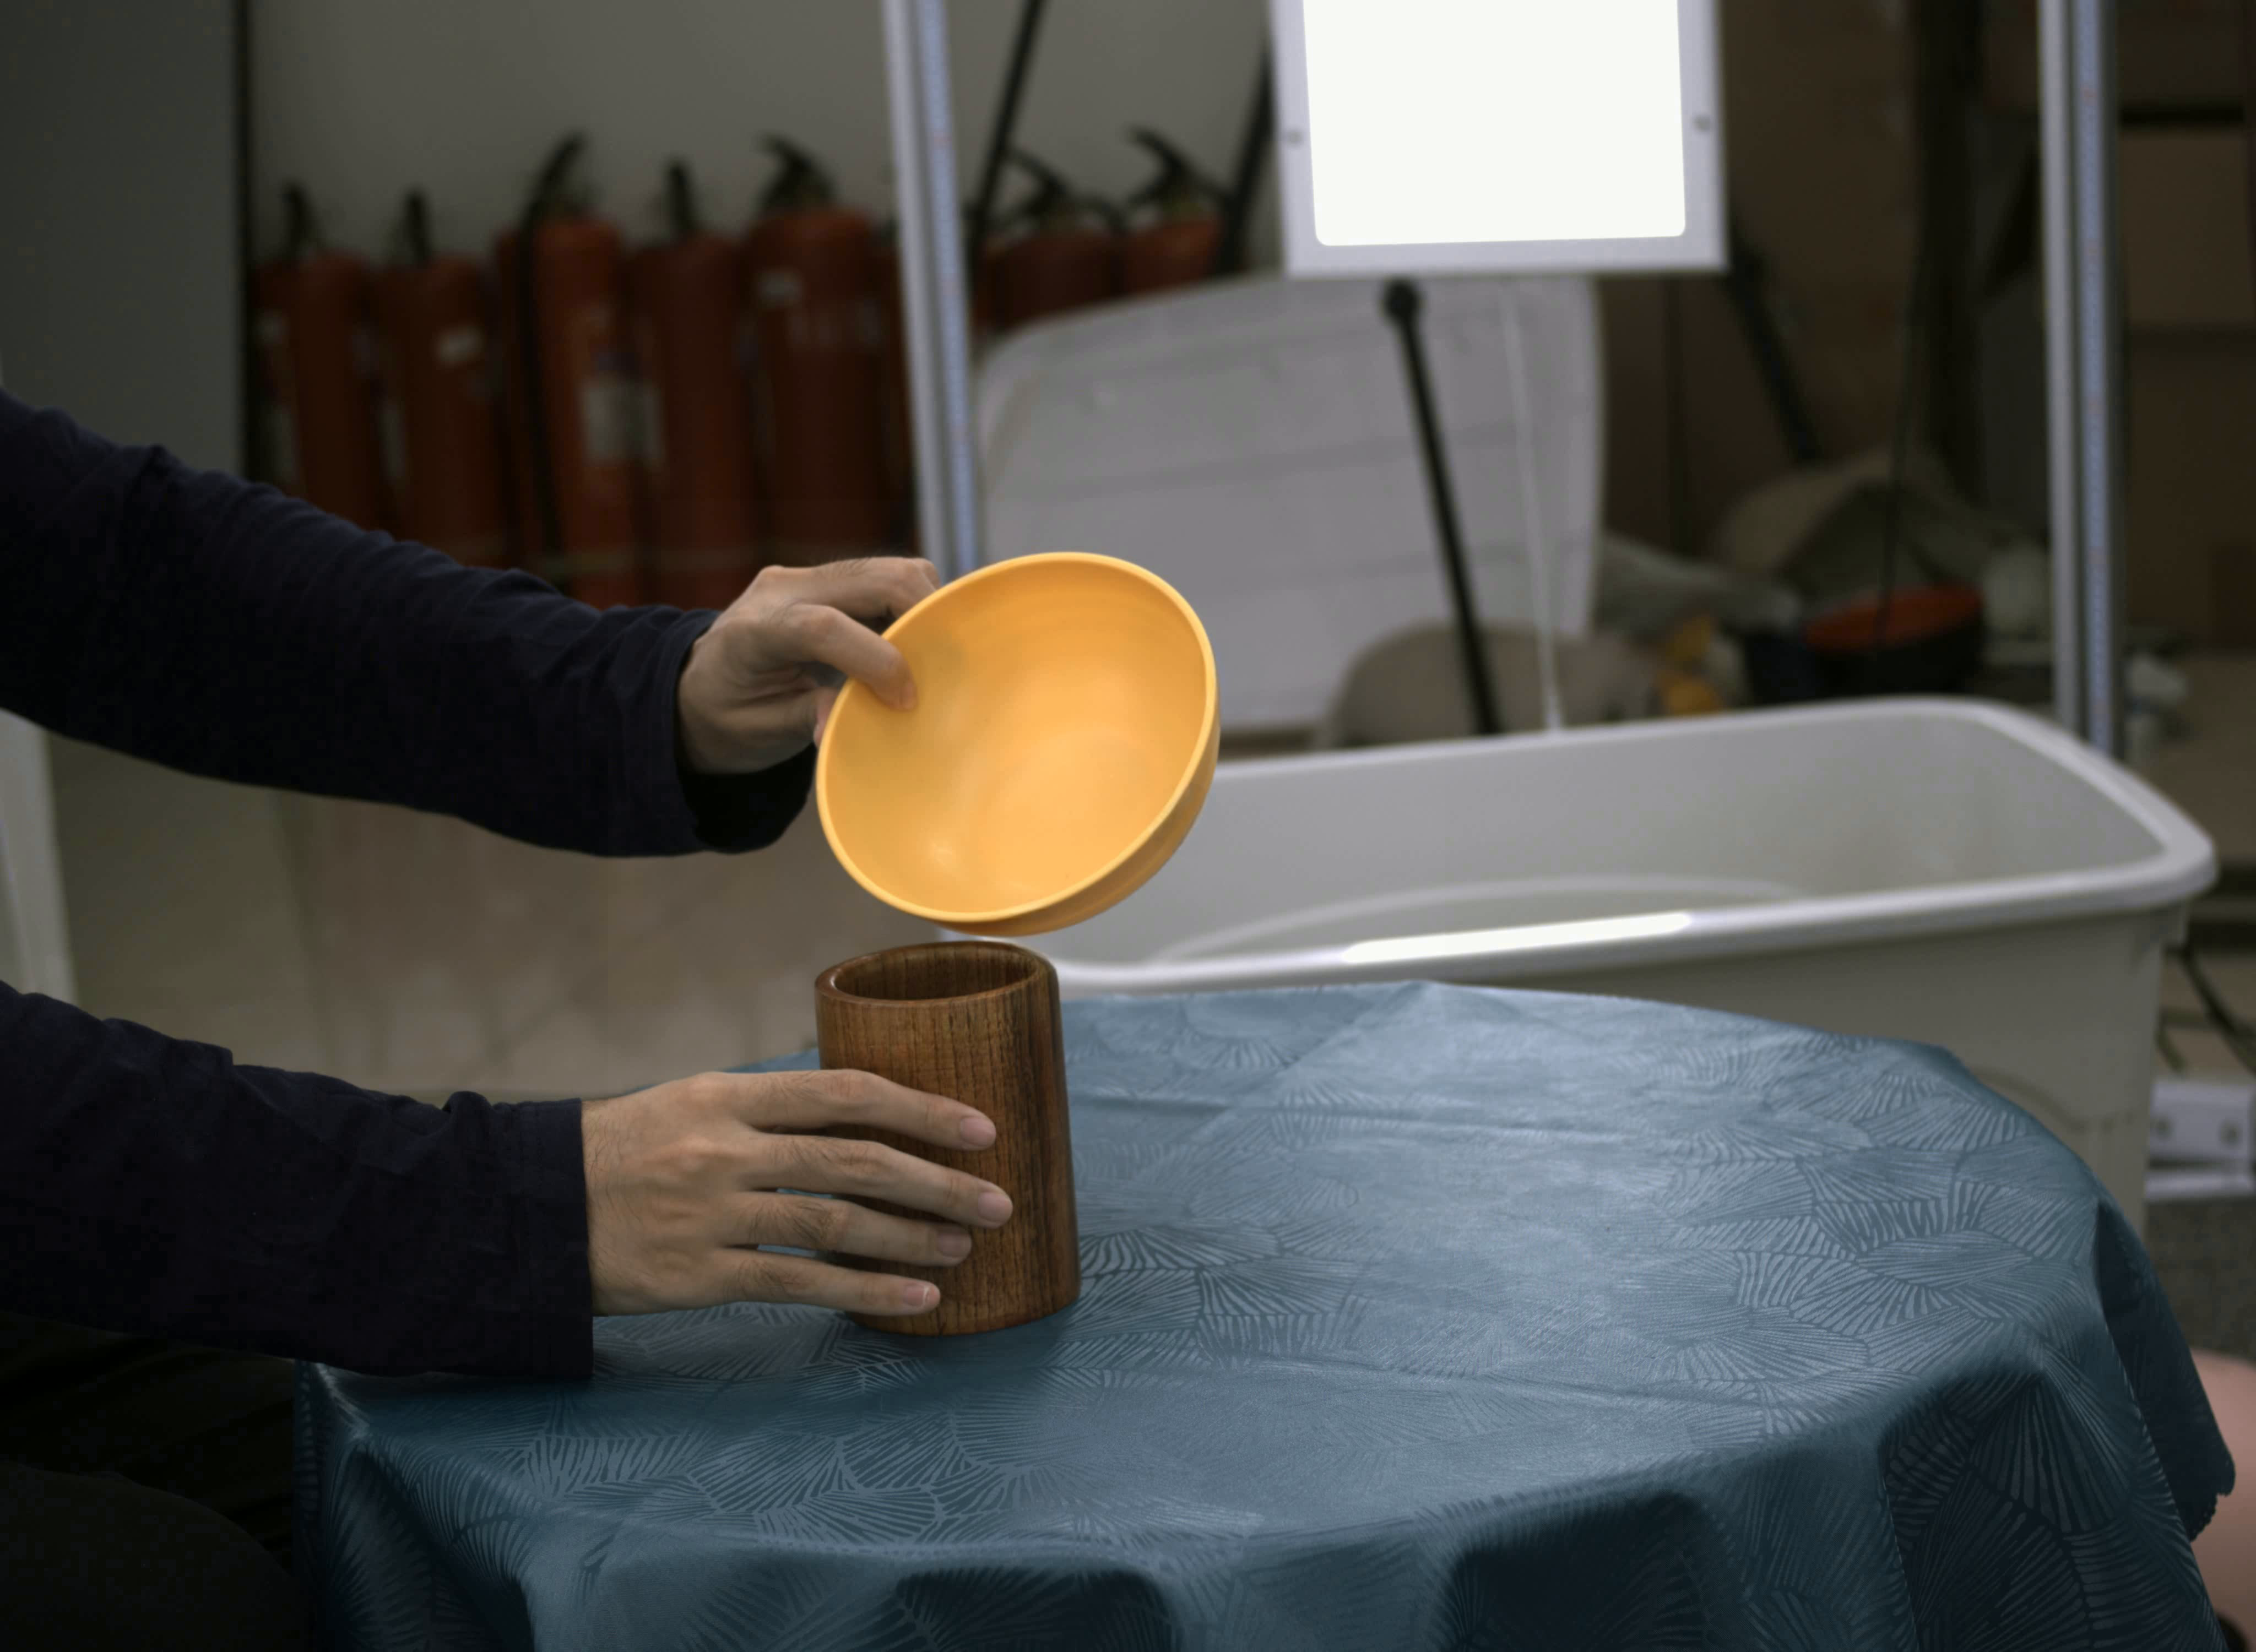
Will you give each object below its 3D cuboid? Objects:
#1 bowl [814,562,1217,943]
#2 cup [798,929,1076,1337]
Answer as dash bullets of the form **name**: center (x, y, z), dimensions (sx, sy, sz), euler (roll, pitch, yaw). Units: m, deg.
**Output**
- **bowl**: center (-0.028, -0.014, 1.844), dimensions (0.147, 0.059, 0.145), euler (-15, 52, 19)
- **cup**: center (-0.060, 0.098, 1.787), dimensions (0.087, 0.119, 0.087), euler (-4, 10, -1)
